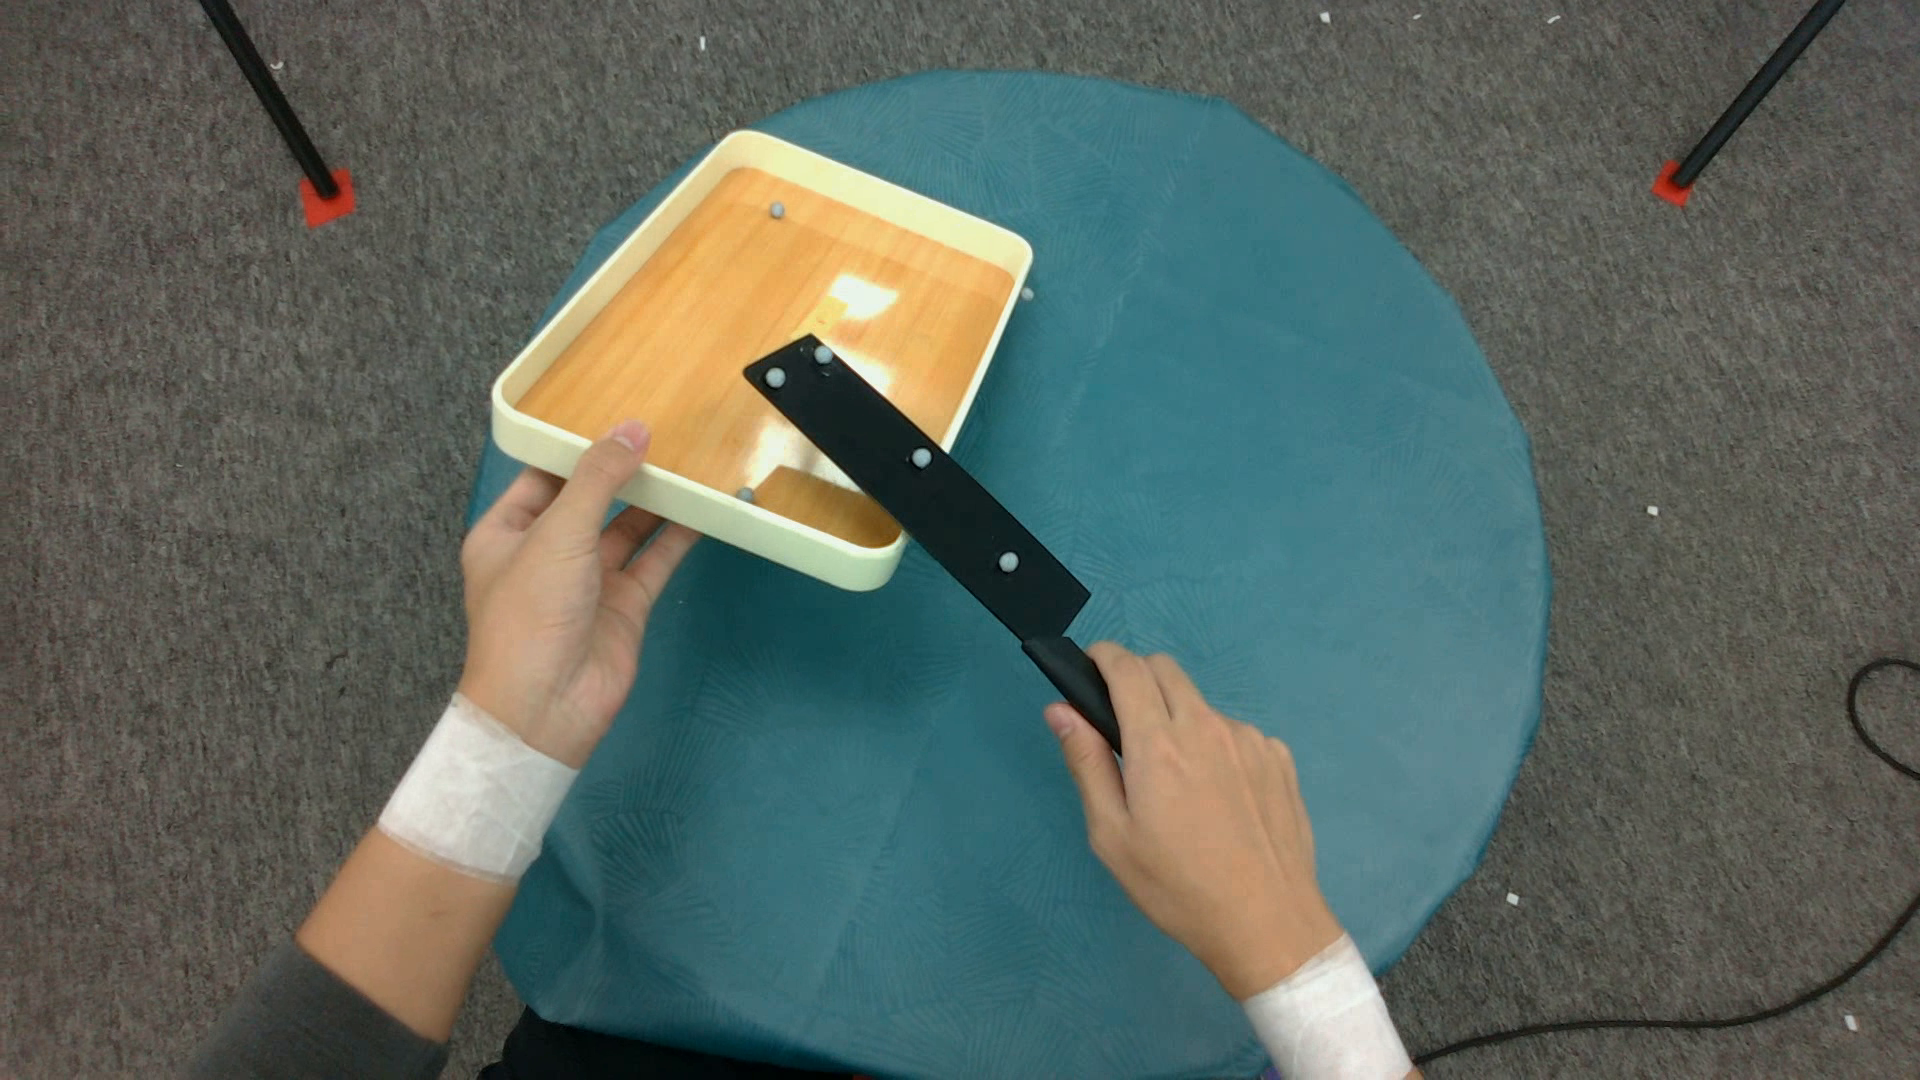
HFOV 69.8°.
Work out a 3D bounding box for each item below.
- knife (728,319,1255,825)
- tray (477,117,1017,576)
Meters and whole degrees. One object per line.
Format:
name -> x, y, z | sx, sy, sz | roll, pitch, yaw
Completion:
knife -> 0.018, 0.013, 0.612 | 0.302, 0.021, 0.081 | 46, 35, 4
tray -> -0.090, -0.114, 0.700 | 0.191, 0.027, 0.302 | 21, 42, 0
